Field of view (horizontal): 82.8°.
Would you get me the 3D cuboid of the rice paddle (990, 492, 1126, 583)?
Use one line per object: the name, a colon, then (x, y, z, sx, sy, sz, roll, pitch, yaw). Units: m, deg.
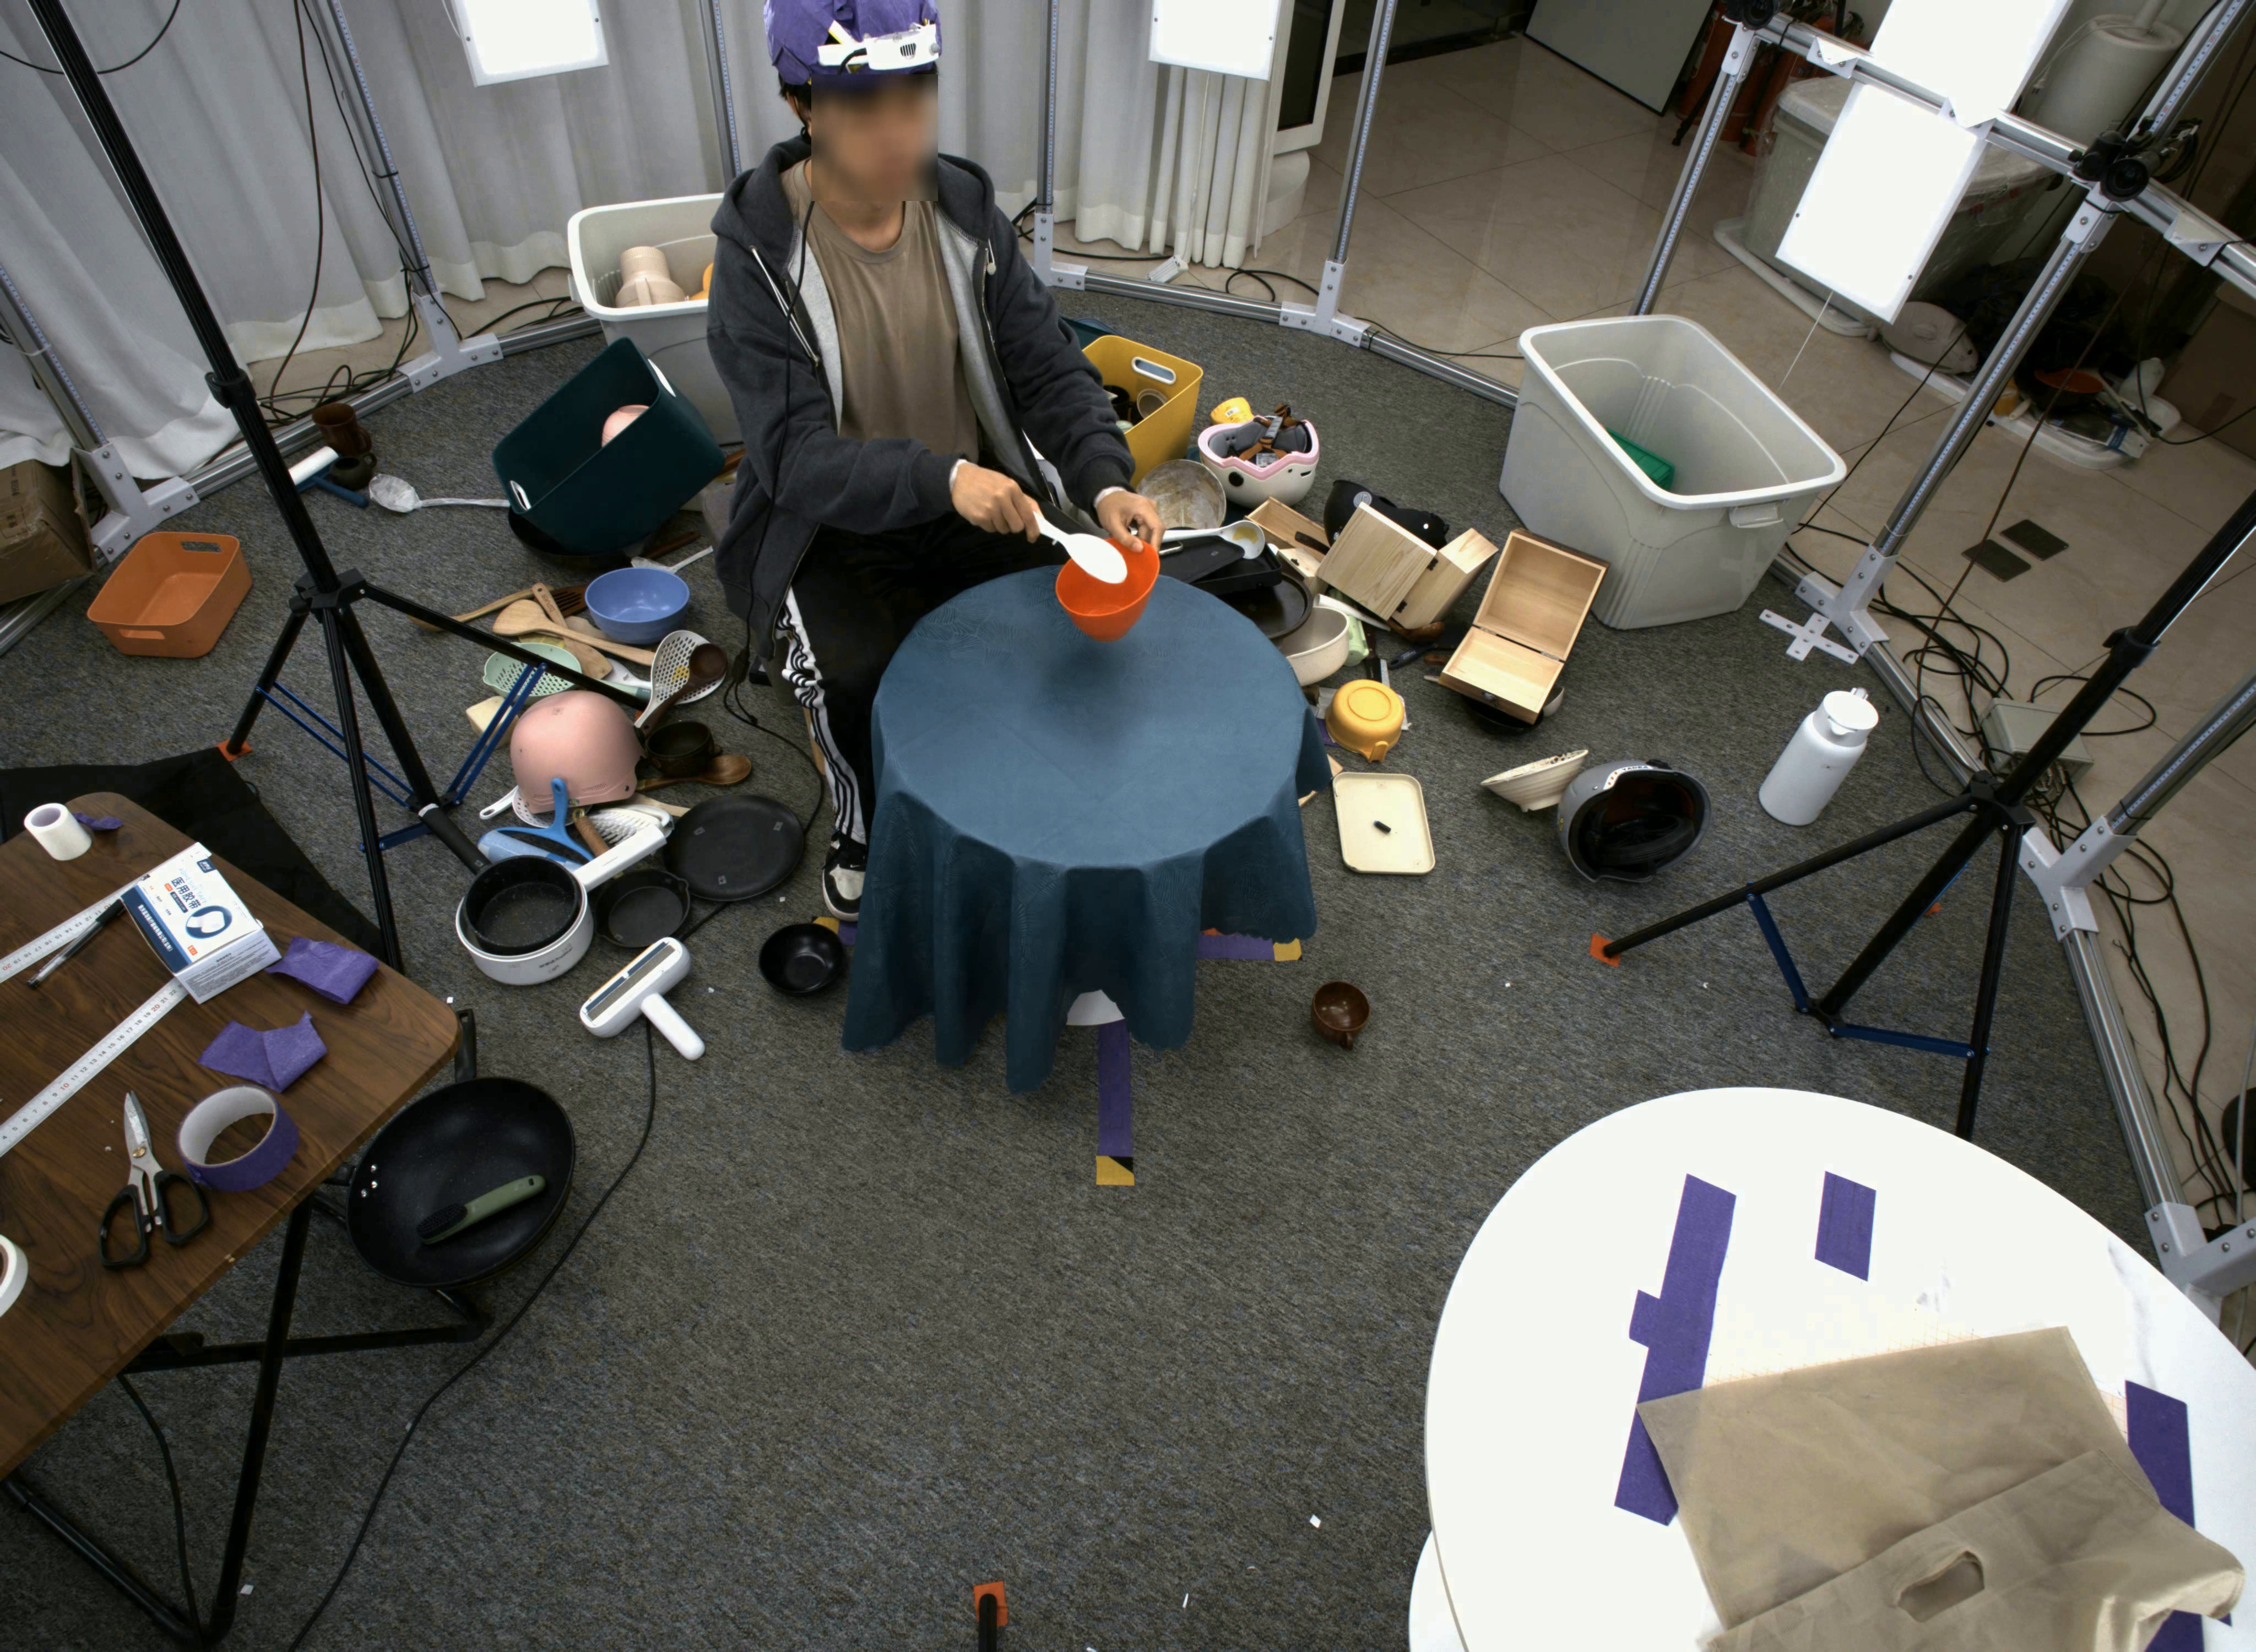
rice paddle: (-0.088, -0.389, 1.741, 0.203, 0.029, 0.070, 25, 55, -18)

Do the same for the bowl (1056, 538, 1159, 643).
bowl: (-0.023, -0.318, 1.795, 0.148, 0.102, 0.151, -5, 52, 7)
